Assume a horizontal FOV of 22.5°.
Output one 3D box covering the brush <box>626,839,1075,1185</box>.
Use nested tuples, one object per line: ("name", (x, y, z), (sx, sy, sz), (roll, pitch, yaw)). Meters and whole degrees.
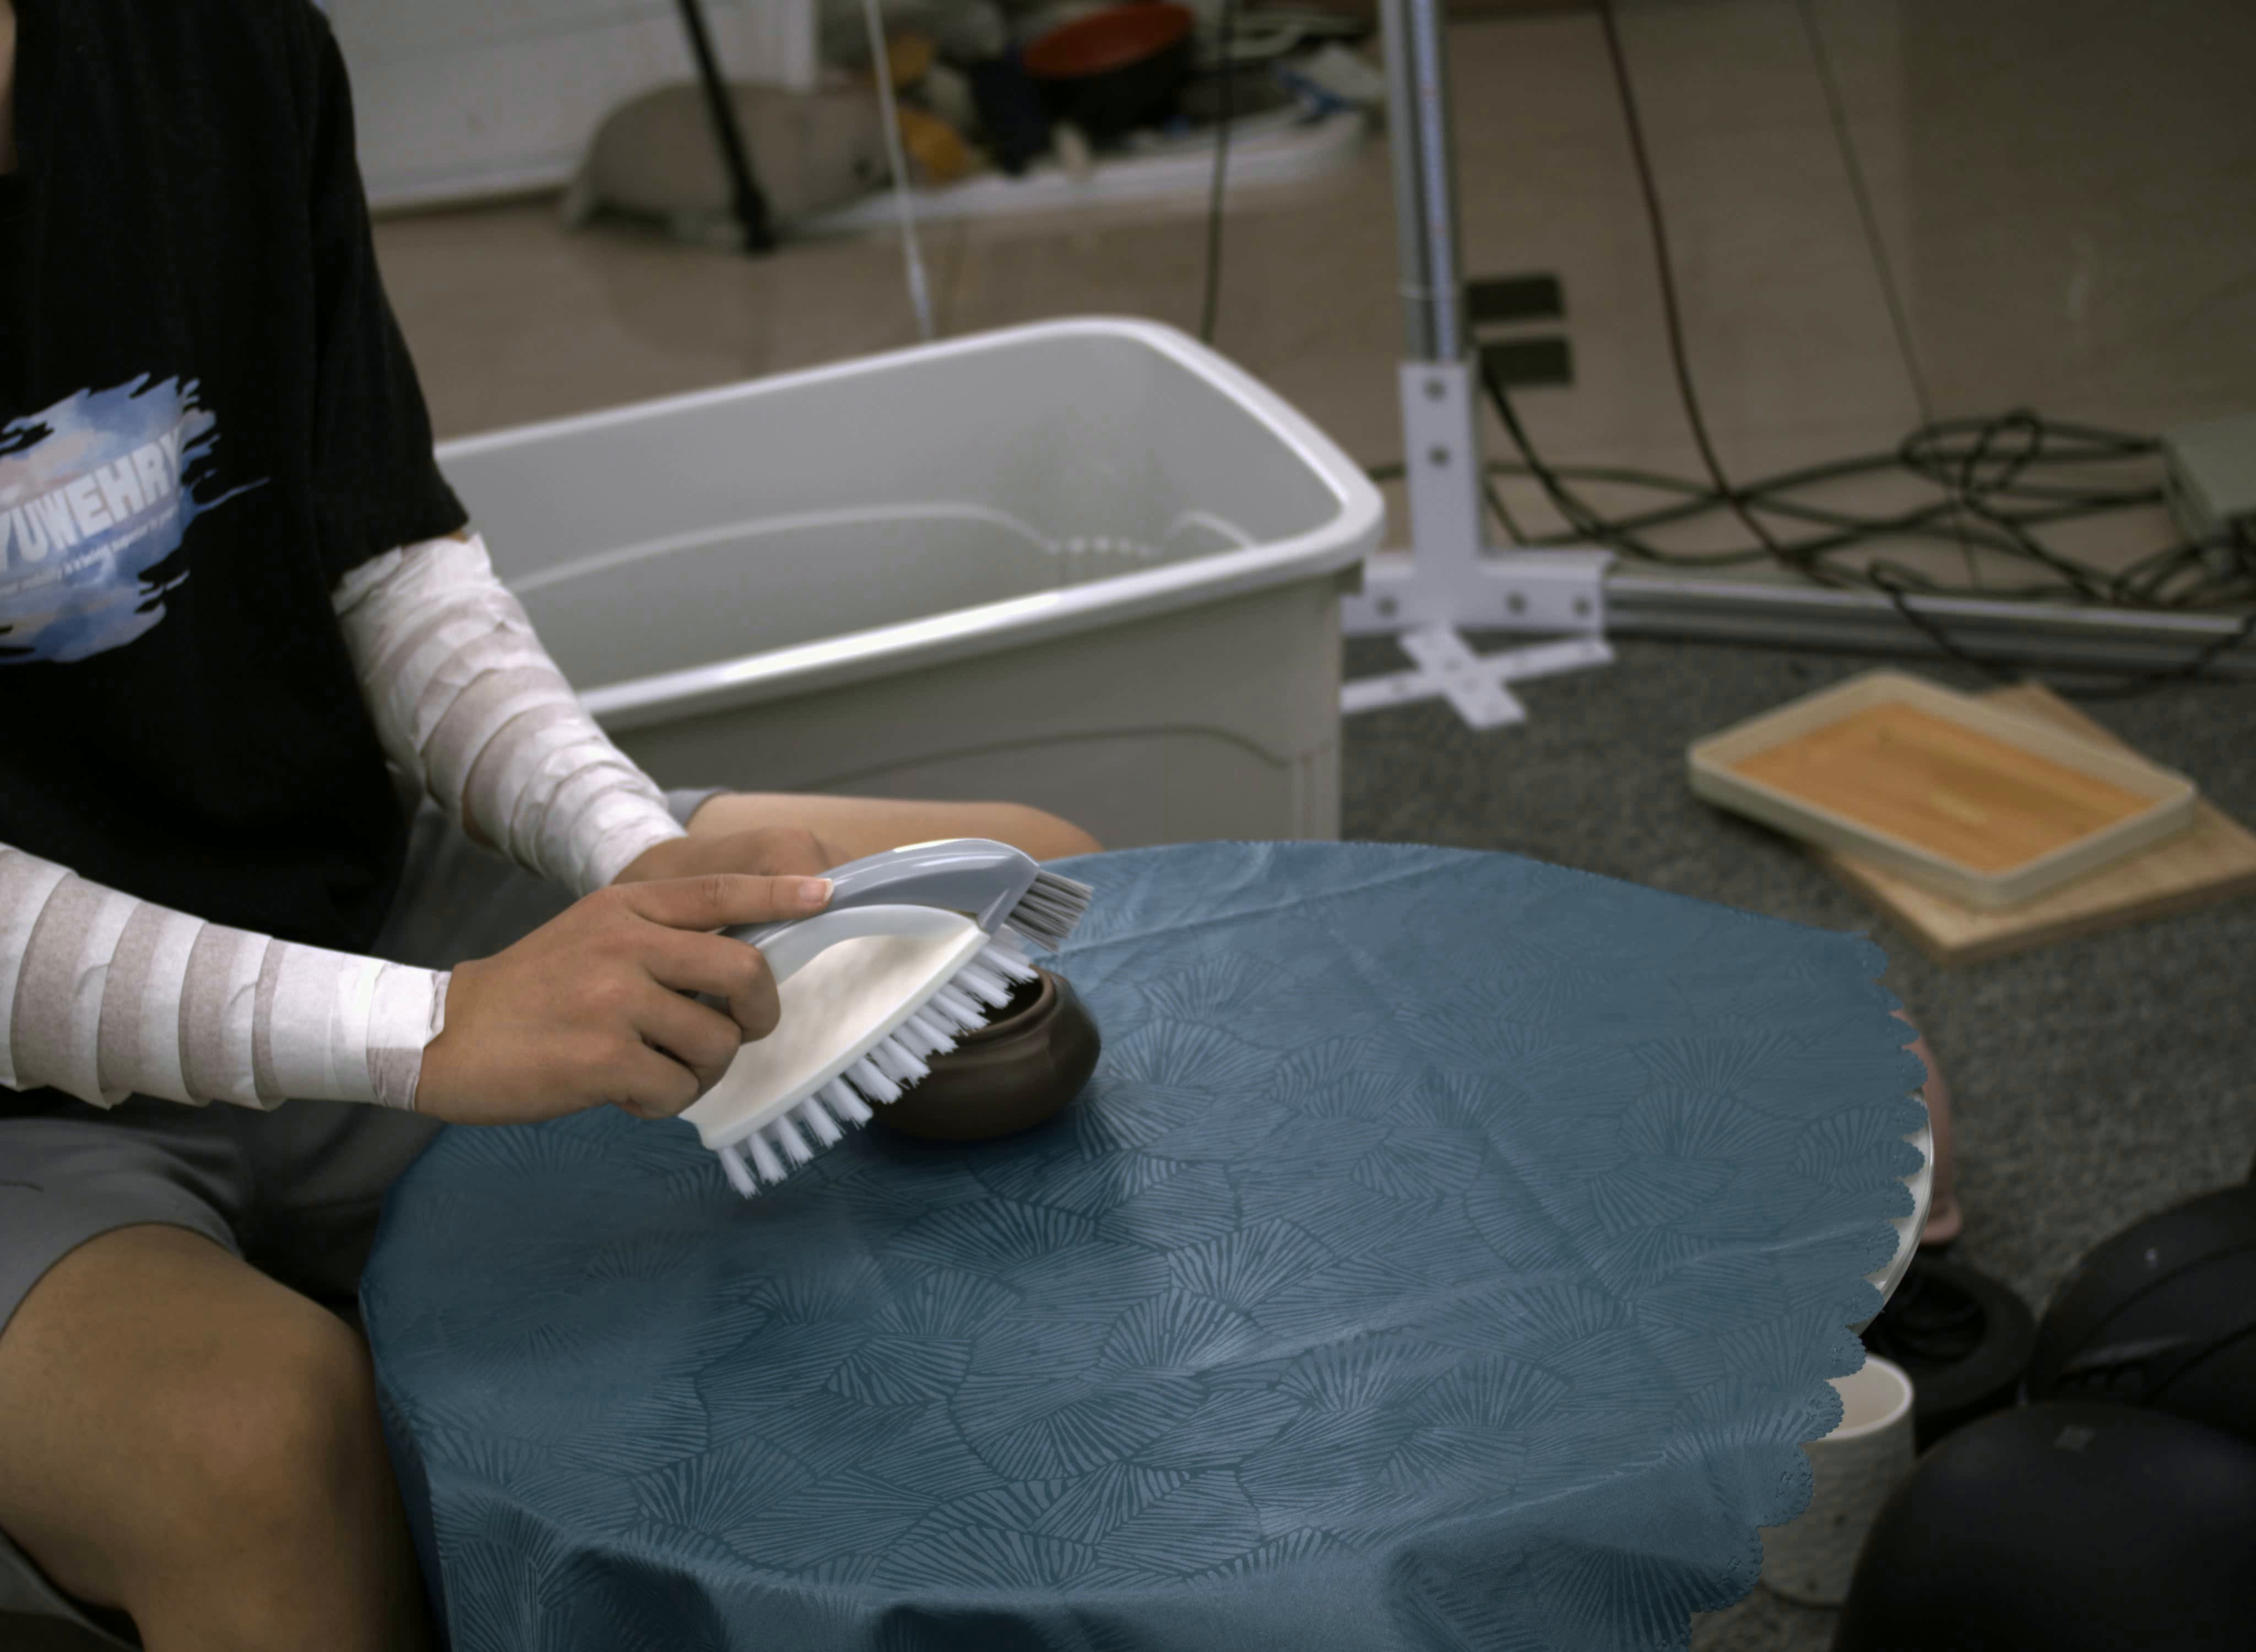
("brush", (-0.110, 0.053, 2.127), (0.176, 0.095, 0.060), (-34, 46, 7))

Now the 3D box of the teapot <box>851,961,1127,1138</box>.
("teapot", (-0.067, 0.085, 2.217), (0.153, 0.054, 0.101), (6, 26, 25))
